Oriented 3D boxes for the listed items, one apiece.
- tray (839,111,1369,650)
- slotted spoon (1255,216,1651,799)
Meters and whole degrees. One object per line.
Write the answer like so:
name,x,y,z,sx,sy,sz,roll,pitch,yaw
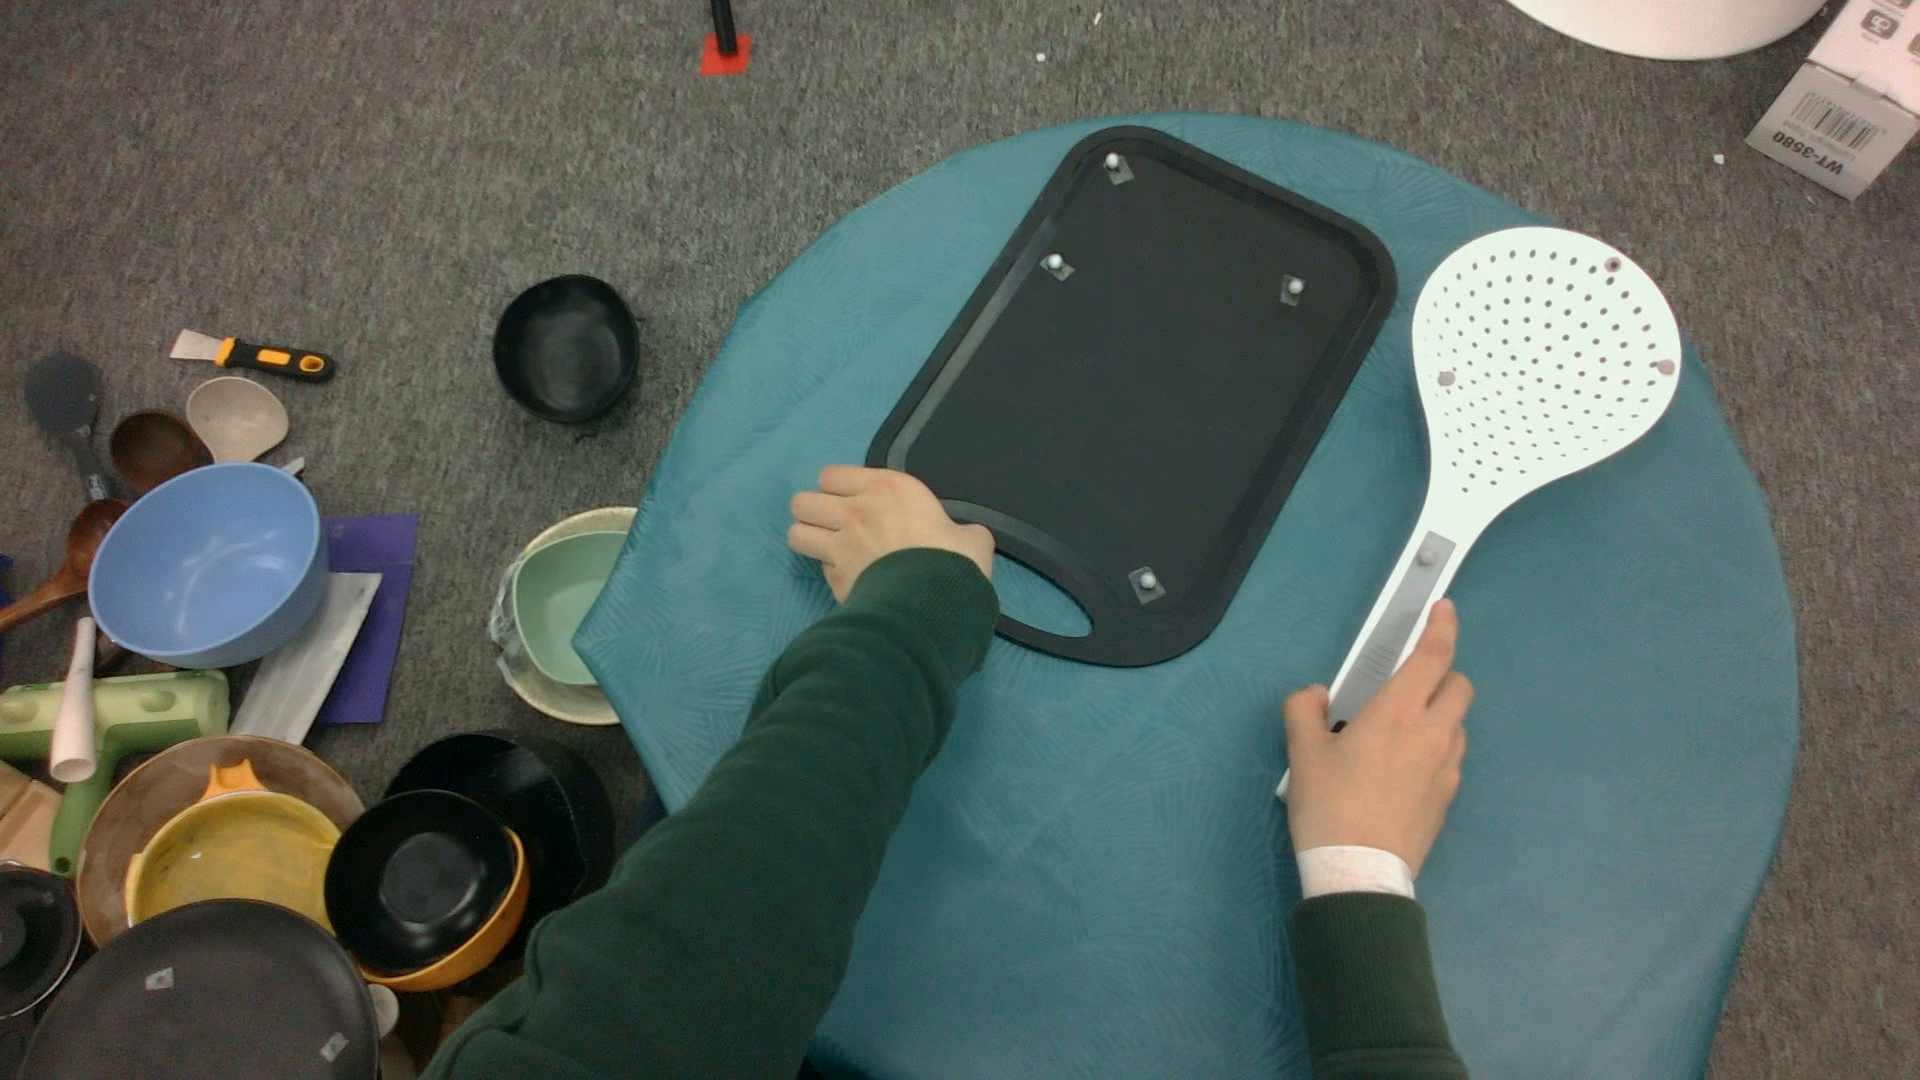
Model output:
tray,0.081,-0.095,0.757,0.211,0.010,0.326,28,69,10
slotted spoon,0.243,-0.023,0.711,0.136,0.045,0.351,28,70,12
